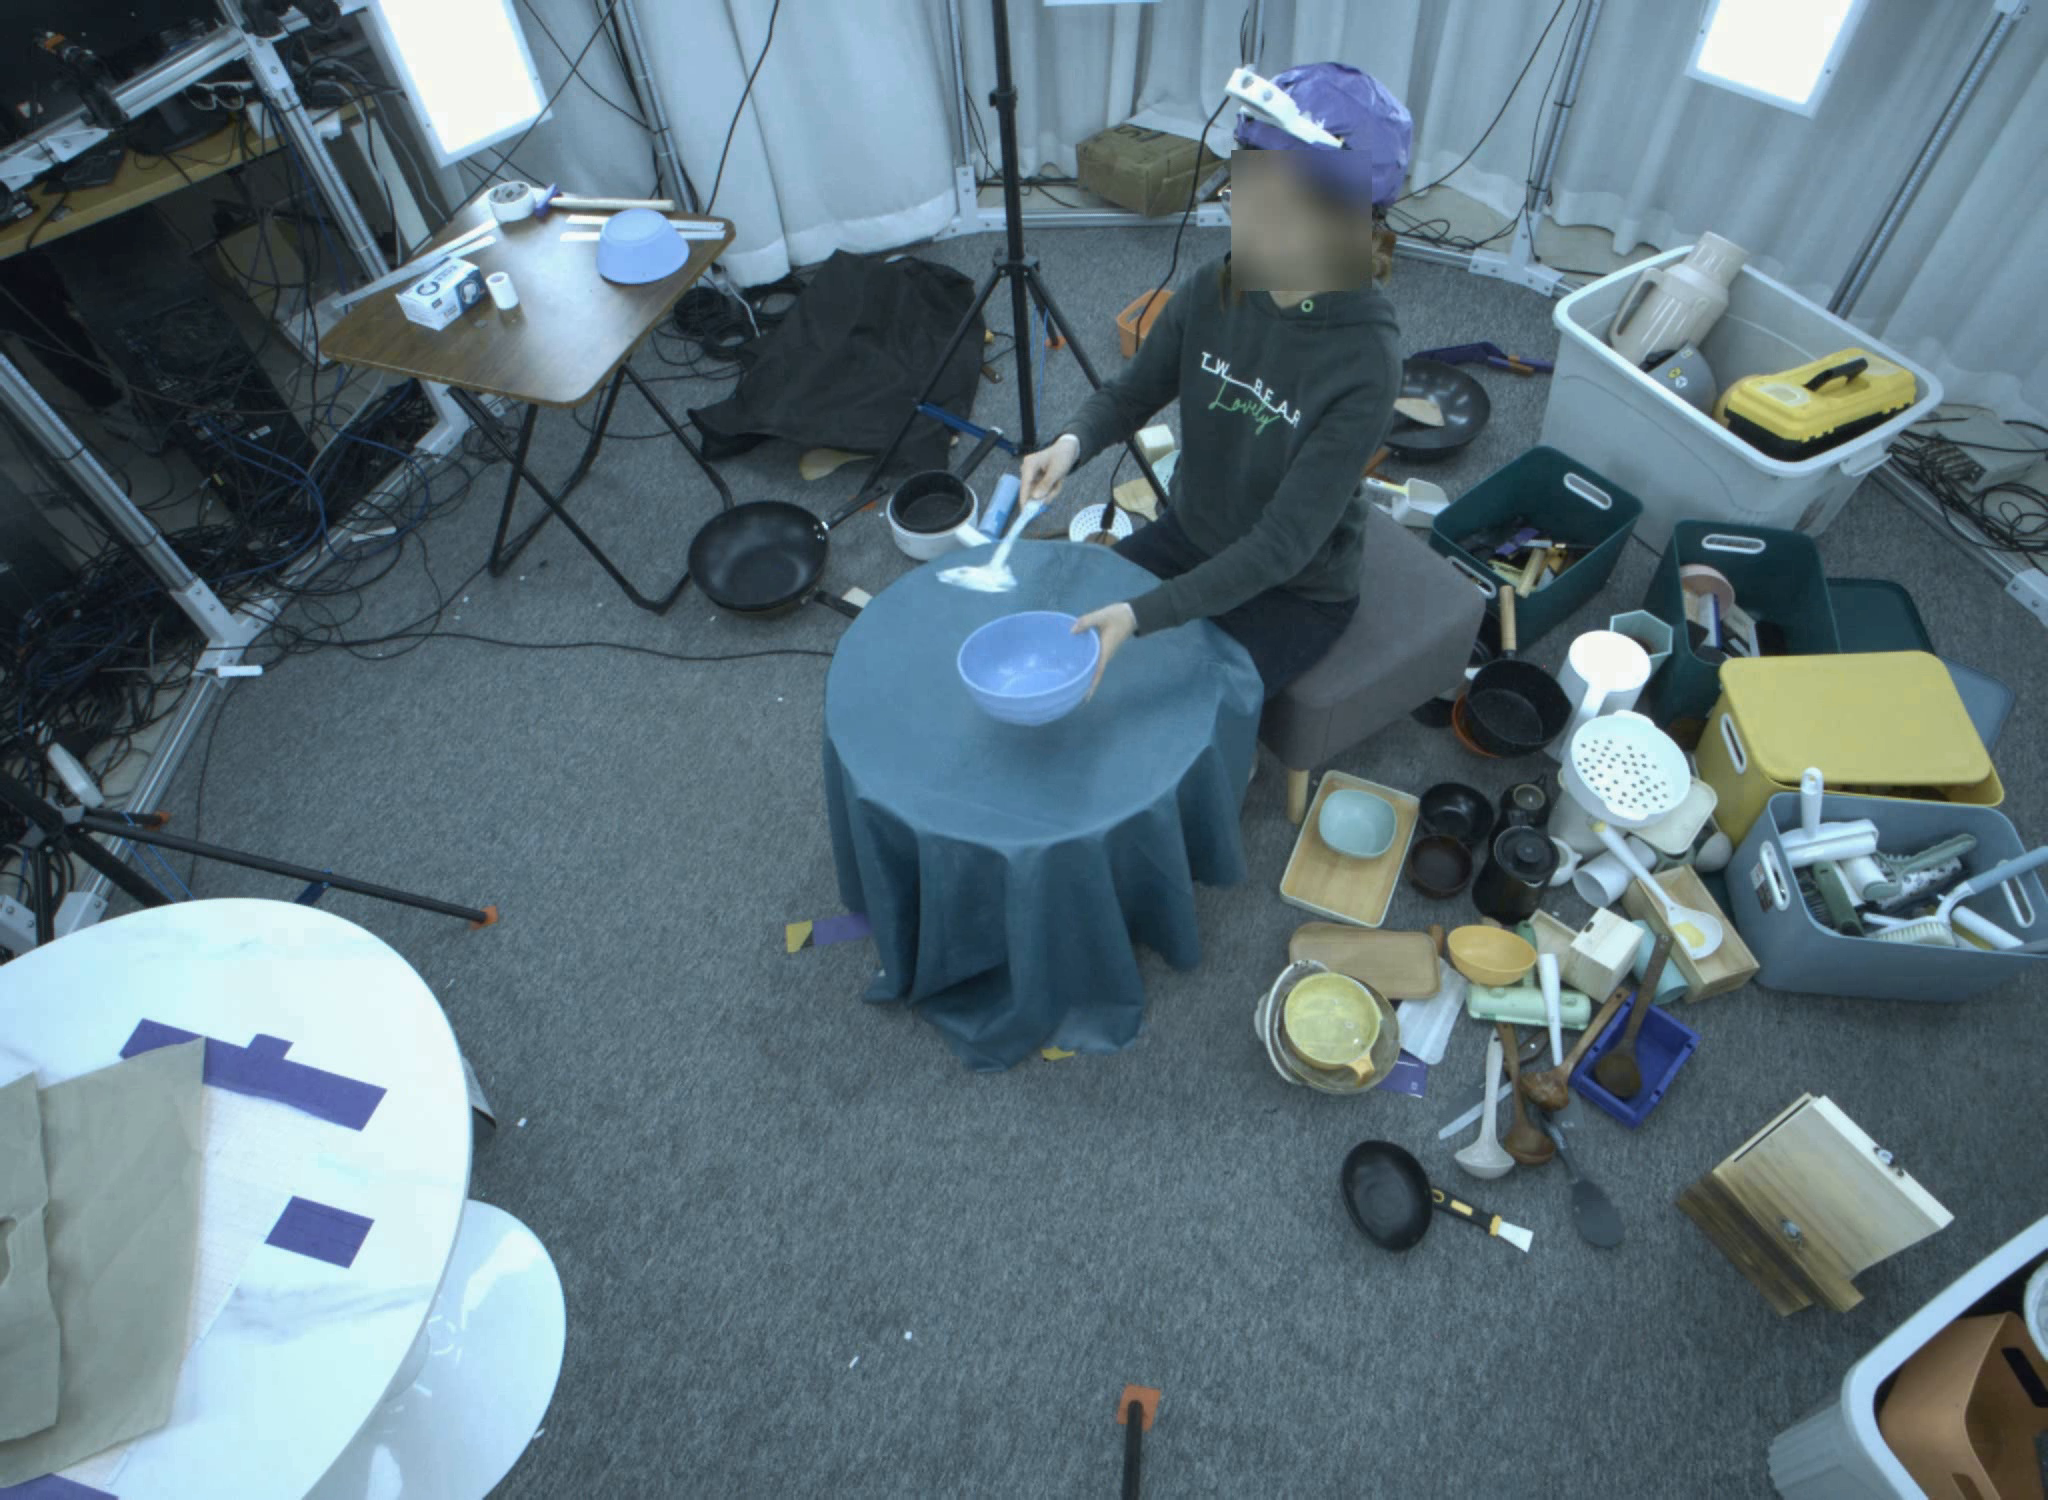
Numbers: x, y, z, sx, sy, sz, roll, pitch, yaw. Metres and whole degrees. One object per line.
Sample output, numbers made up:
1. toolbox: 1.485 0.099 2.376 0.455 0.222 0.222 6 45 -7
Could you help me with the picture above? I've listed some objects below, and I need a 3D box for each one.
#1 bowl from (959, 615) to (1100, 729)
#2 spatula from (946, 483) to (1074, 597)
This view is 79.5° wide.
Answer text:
1. bowl: 0.014 -0.095 1.719 0.196 0.097 0.194 -5 42 6
2. spatula: 0.000 -0.302 1.704 0.097 0.045 0.365 14 45 15
